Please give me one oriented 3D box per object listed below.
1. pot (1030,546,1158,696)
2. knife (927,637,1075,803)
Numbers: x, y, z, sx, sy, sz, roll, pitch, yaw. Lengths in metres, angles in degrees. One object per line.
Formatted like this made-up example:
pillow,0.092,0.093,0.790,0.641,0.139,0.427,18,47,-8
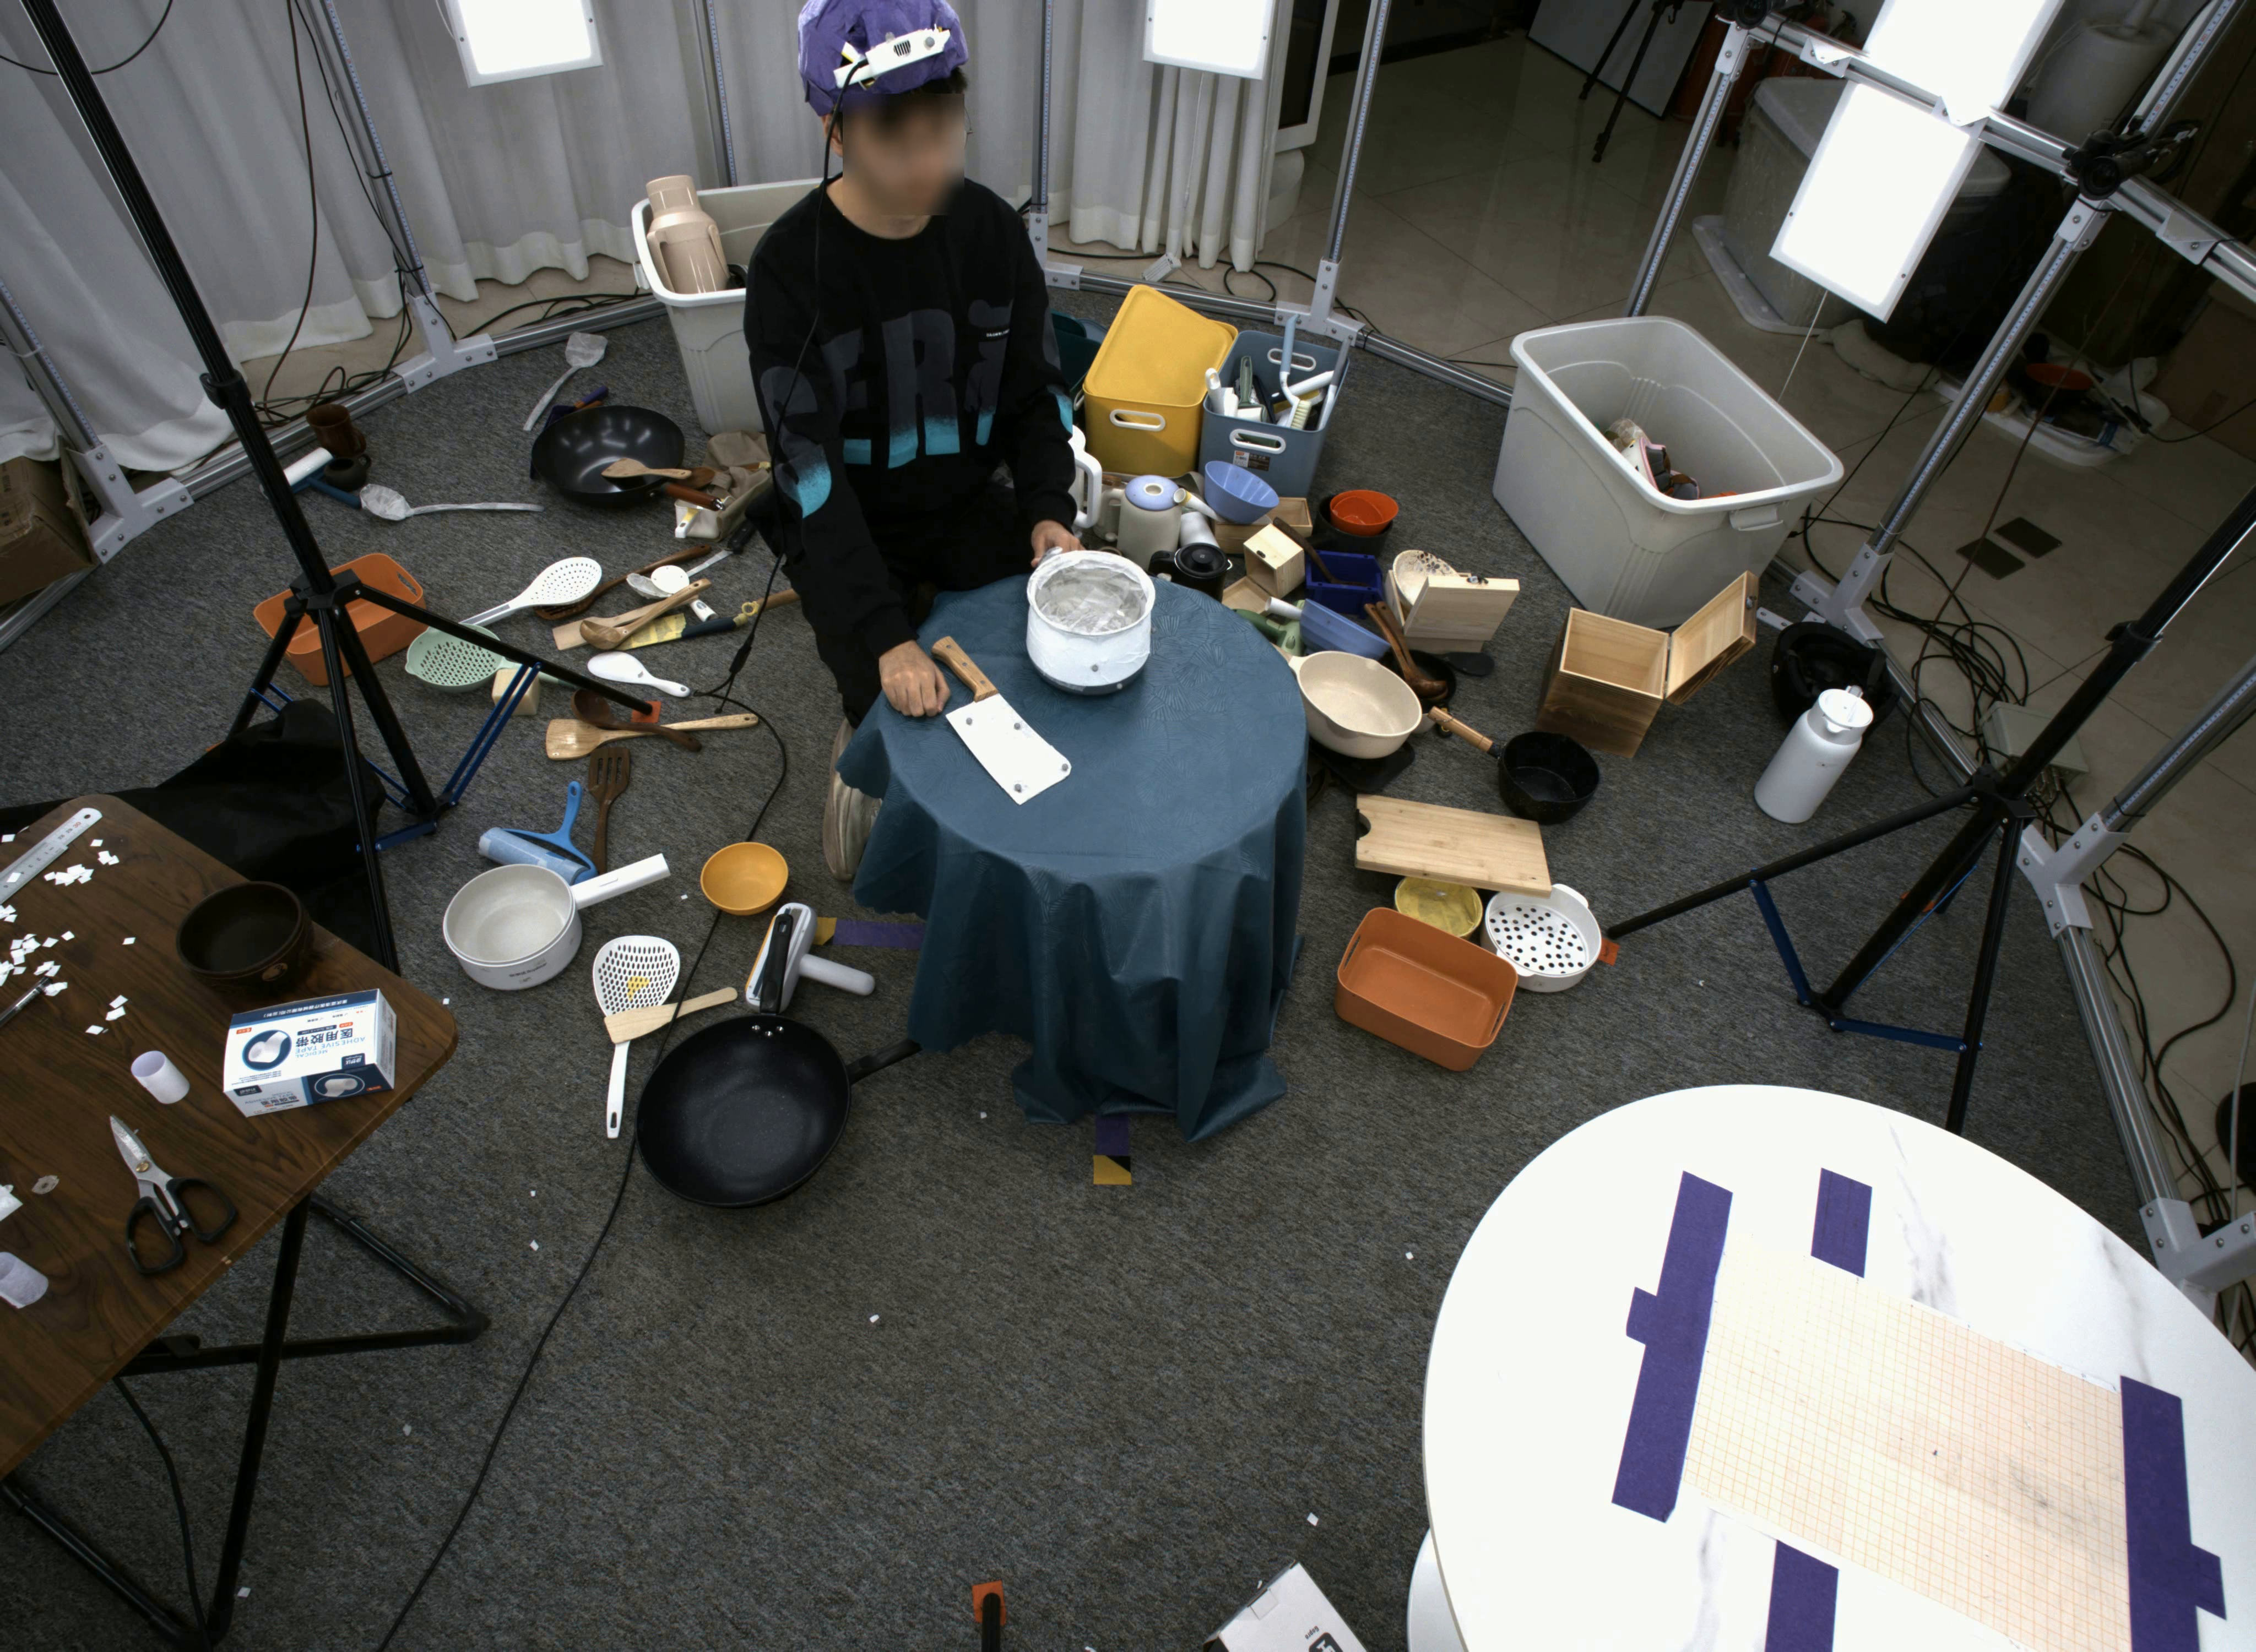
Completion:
pot,-0.065,-0.303,1.839,0.179,0.133,0.238,-23,55,-22
knife,-0.188,-0.154,1.778,0.114,0.021,0.321,-24,57,-22
